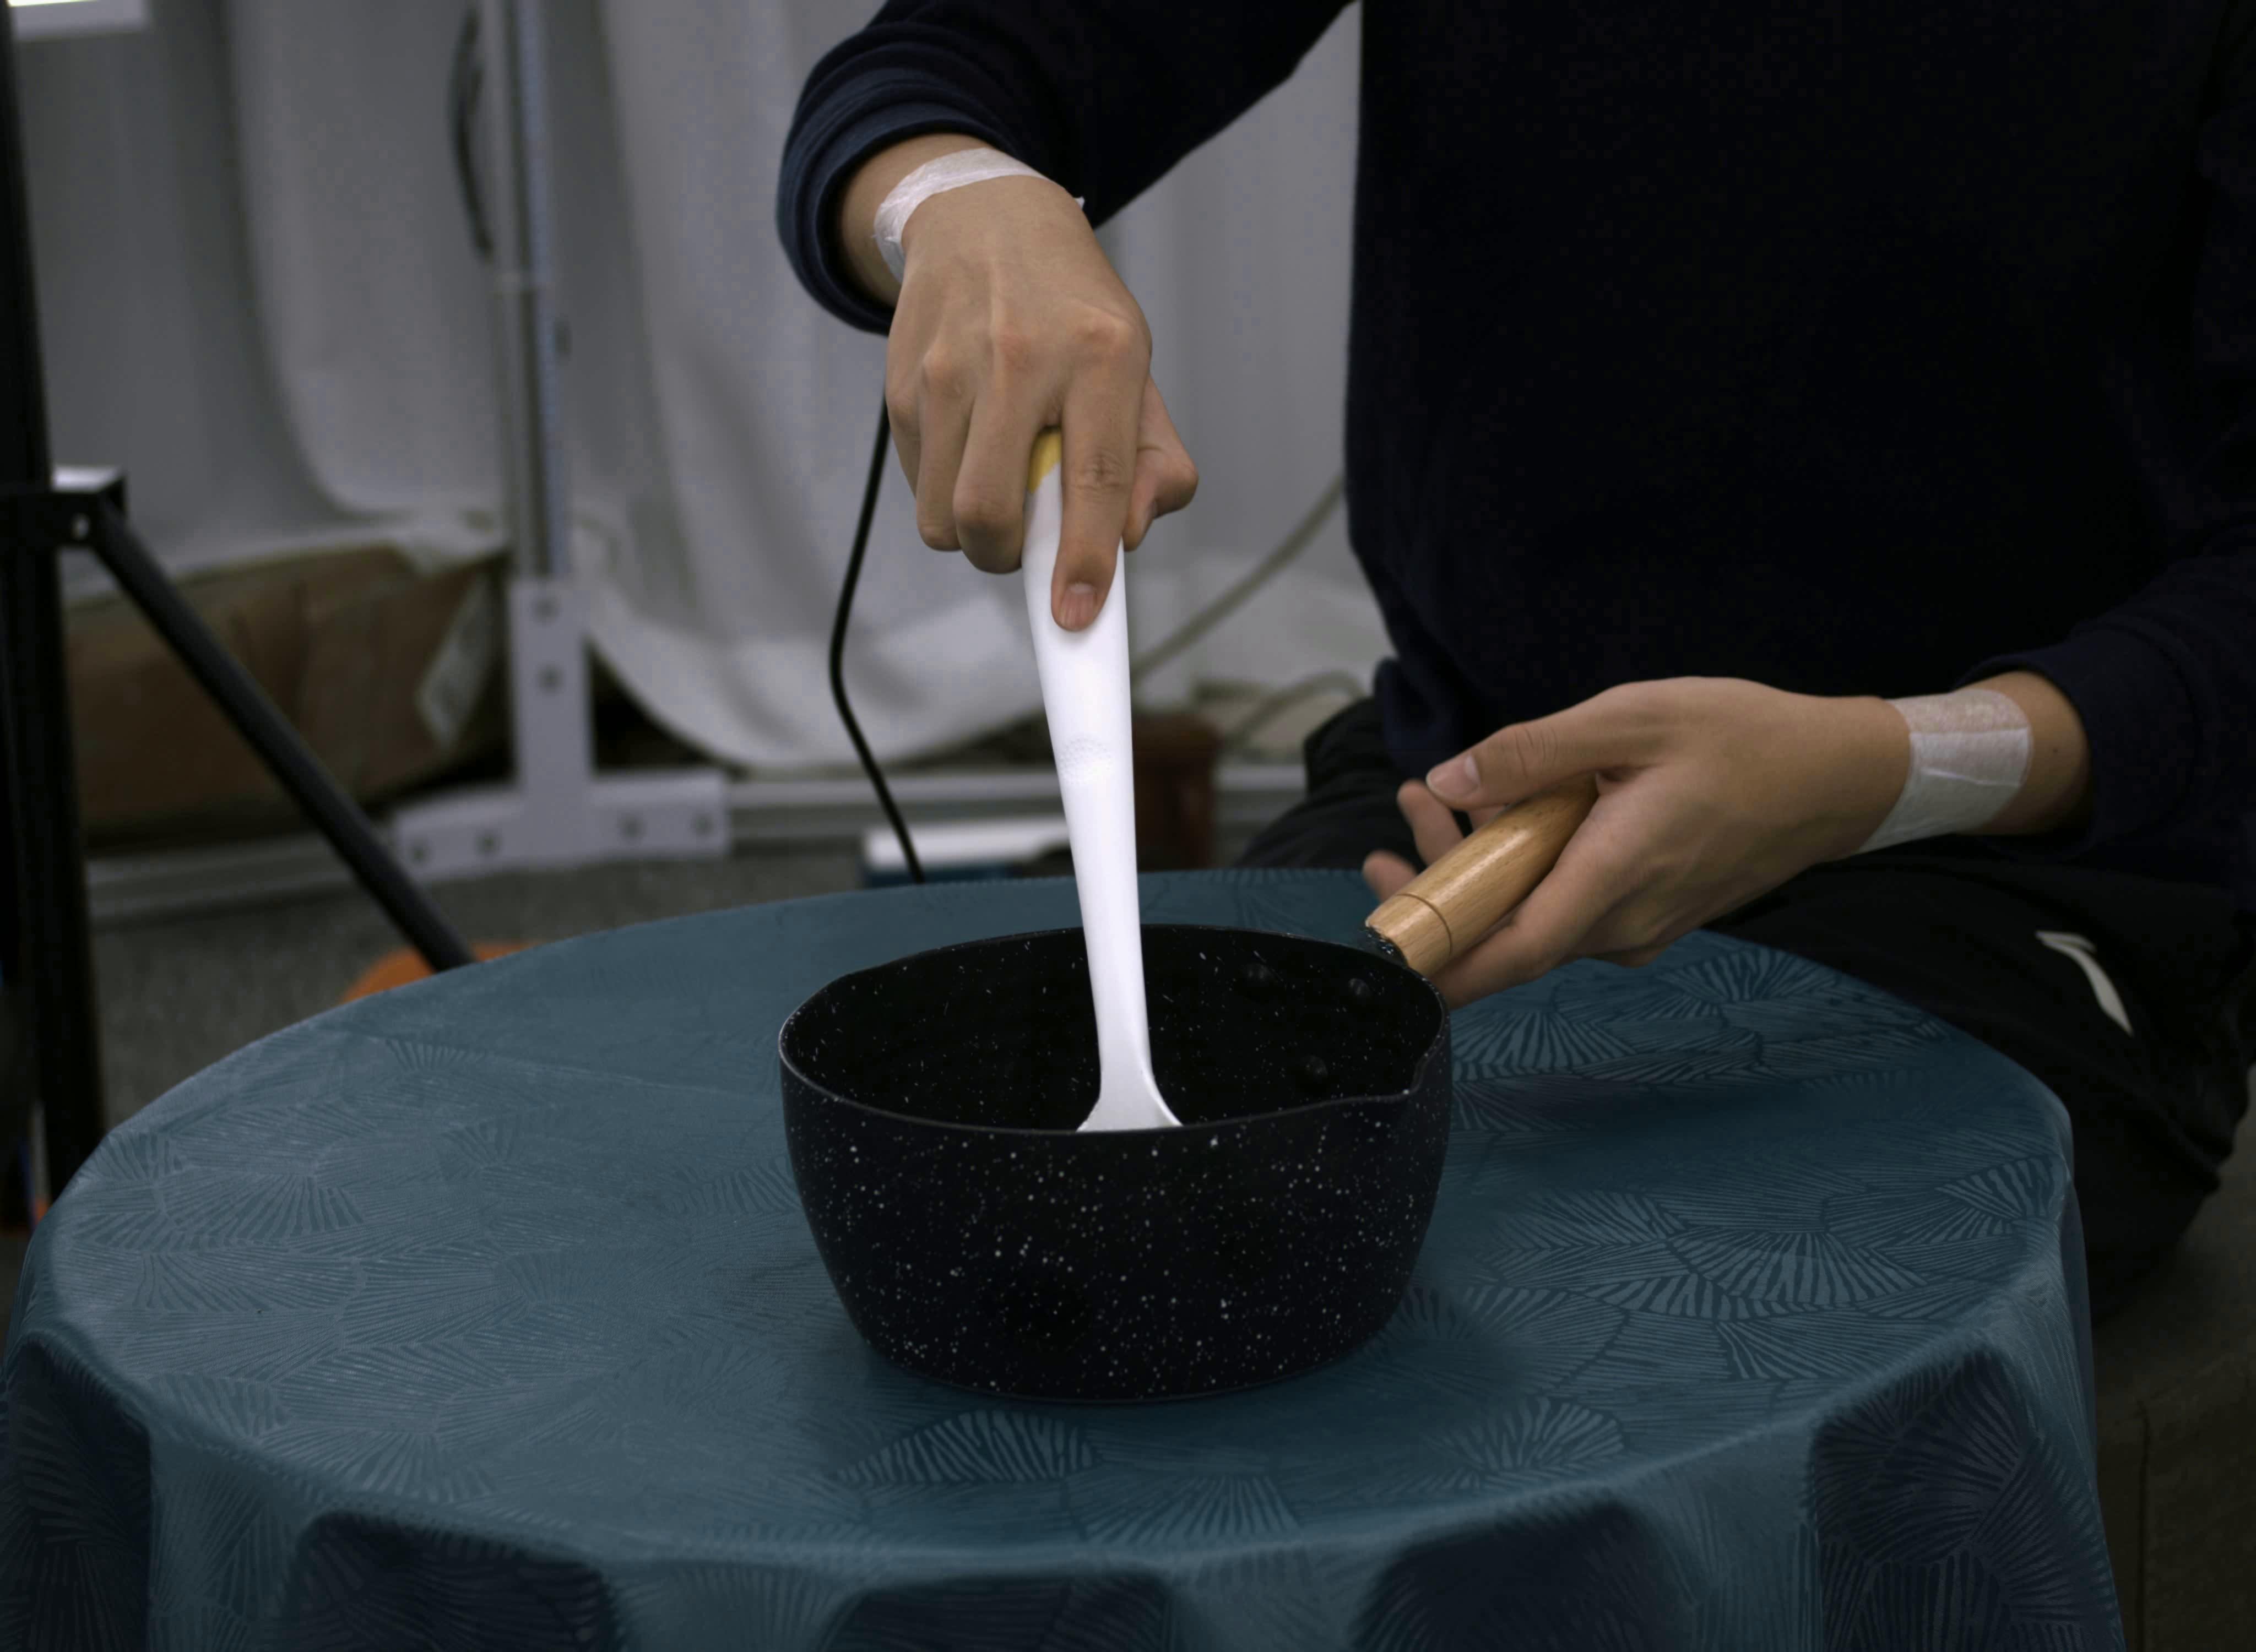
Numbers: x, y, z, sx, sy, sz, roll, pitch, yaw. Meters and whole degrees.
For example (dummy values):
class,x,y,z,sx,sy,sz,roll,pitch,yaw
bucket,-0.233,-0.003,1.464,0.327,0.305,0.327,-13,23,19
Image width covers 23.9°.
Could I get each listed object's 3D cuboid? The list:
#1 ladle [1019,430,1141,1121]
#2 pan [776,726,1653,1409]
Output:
class,x,y,z,sx,sy,sz,roll,pitch,yaw
ladle,-0.021,0.012,1.498,0.091,0.296,0.068,-19,-33,29
pan,0.046,0.063,1.510,0.212,0.108,0.336,9,21,38
